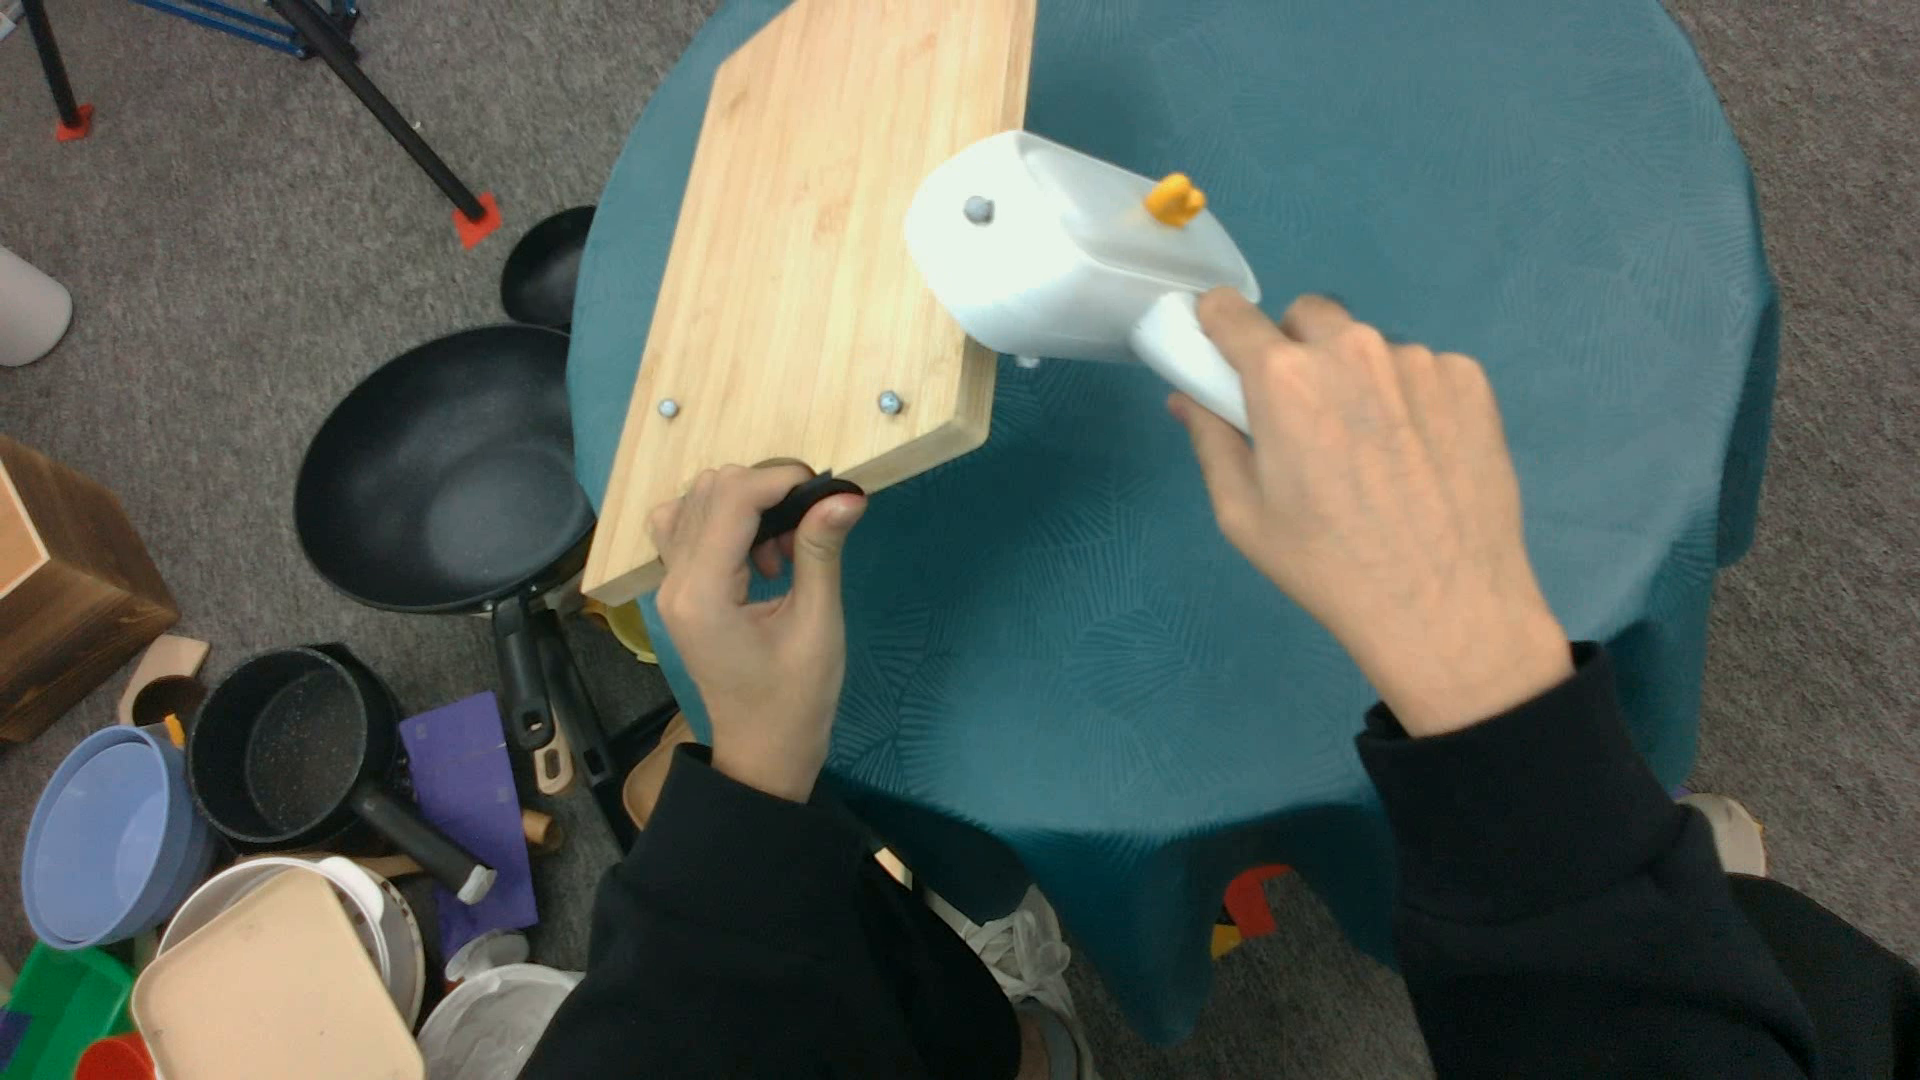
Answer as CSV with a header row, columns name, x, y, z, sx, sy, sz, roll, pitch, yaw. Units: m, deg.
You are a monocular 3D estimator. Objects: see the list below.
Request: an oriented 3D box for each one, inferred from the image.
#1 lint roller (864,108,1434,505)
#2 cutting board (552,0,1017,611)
name,x,y,z,sx,sy,sz,roll,pitch,yaw
lint roller,0.079,-0.072,0.487,0.192,0.193,0.074,49,114,13
cutting board,-0.073,-0.152,0.633,0.249,0.023,0.350,-21,51,38
